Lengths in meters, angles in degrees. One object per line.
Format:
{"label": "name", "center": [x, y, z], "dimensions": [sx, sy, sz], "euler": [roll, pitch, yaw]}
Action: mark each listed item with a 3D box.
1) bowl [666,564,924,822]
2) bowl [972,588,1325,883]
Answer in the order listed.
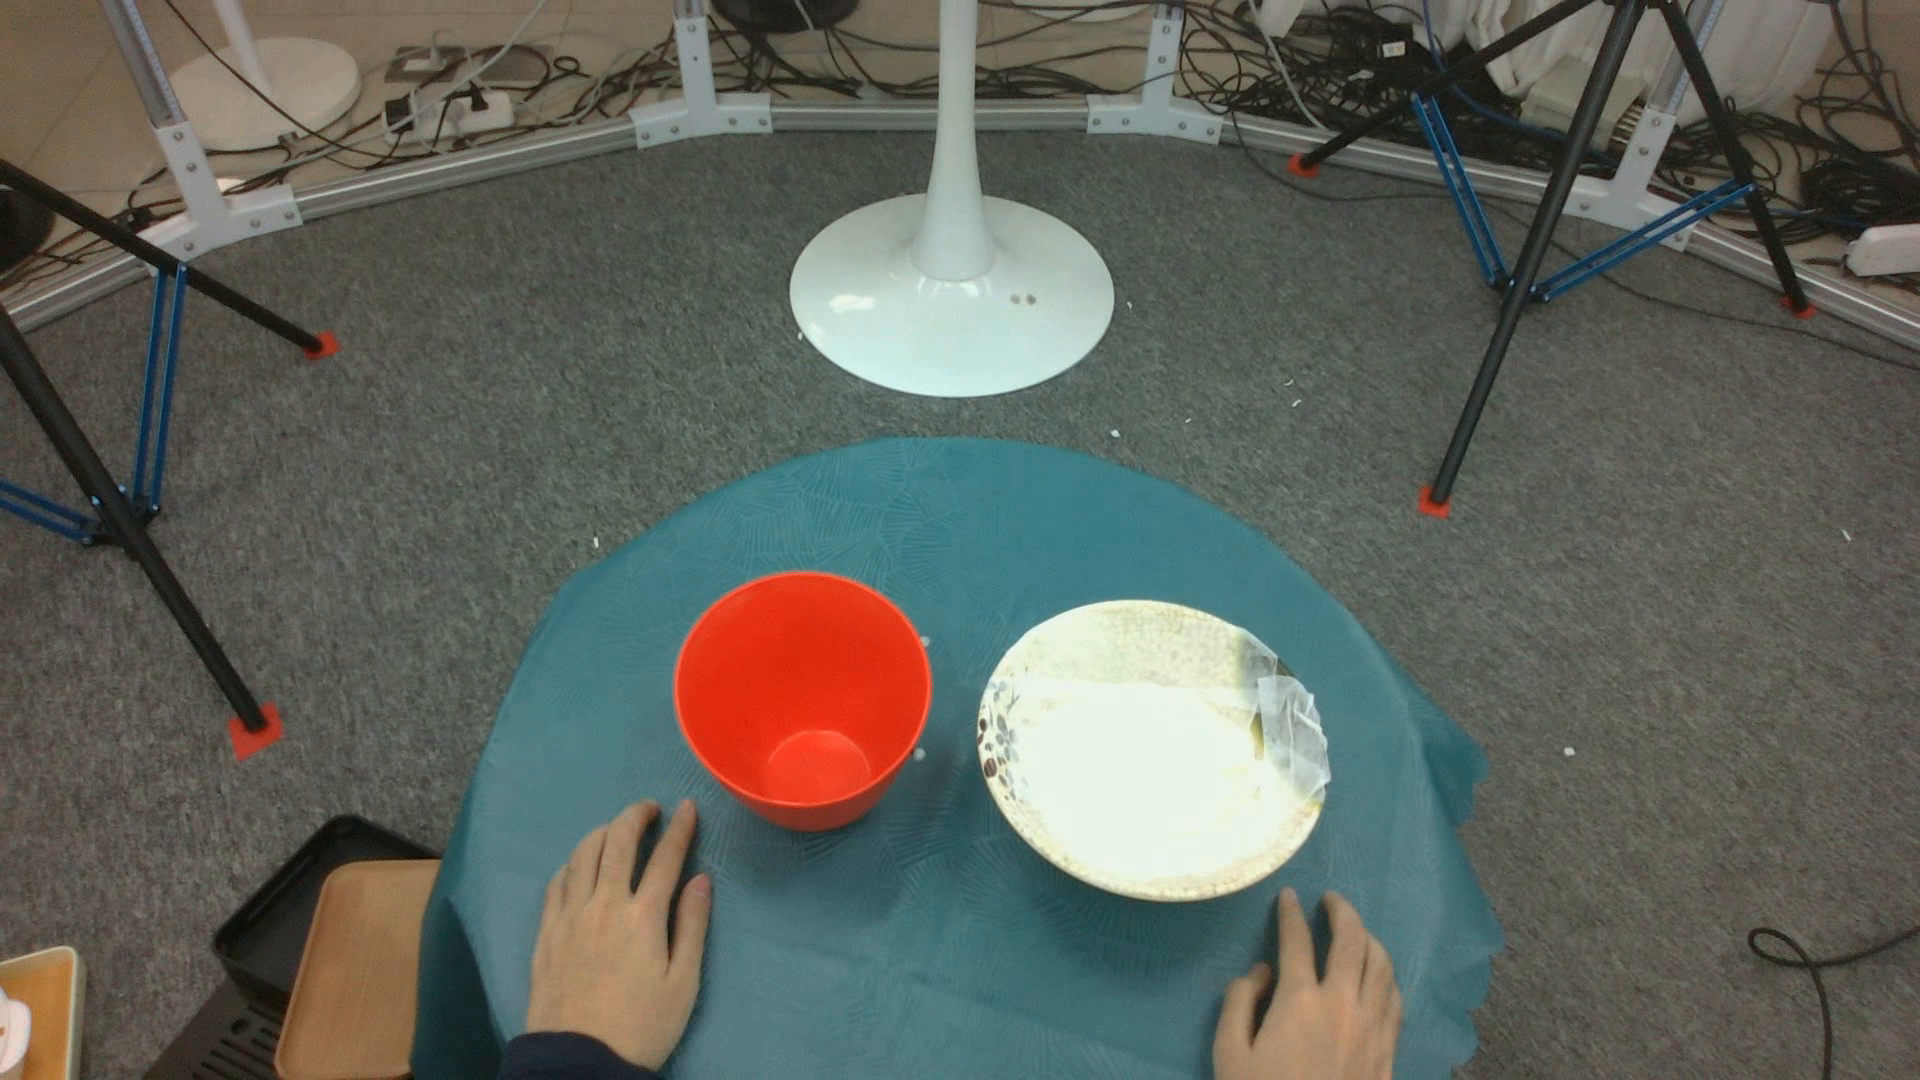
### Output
{"label": "bowl", "center": [-0.096, 0.103, 0.823], "dimensions": [0.148, 0.104, 0.148], "euler": [2, 50, -2]}
{"label": "bowl", "center": [0.108, 0.130, 0.825], "dimensions": [0.204, 0.077, 0.205], "euler": [1, 48, -1]}
